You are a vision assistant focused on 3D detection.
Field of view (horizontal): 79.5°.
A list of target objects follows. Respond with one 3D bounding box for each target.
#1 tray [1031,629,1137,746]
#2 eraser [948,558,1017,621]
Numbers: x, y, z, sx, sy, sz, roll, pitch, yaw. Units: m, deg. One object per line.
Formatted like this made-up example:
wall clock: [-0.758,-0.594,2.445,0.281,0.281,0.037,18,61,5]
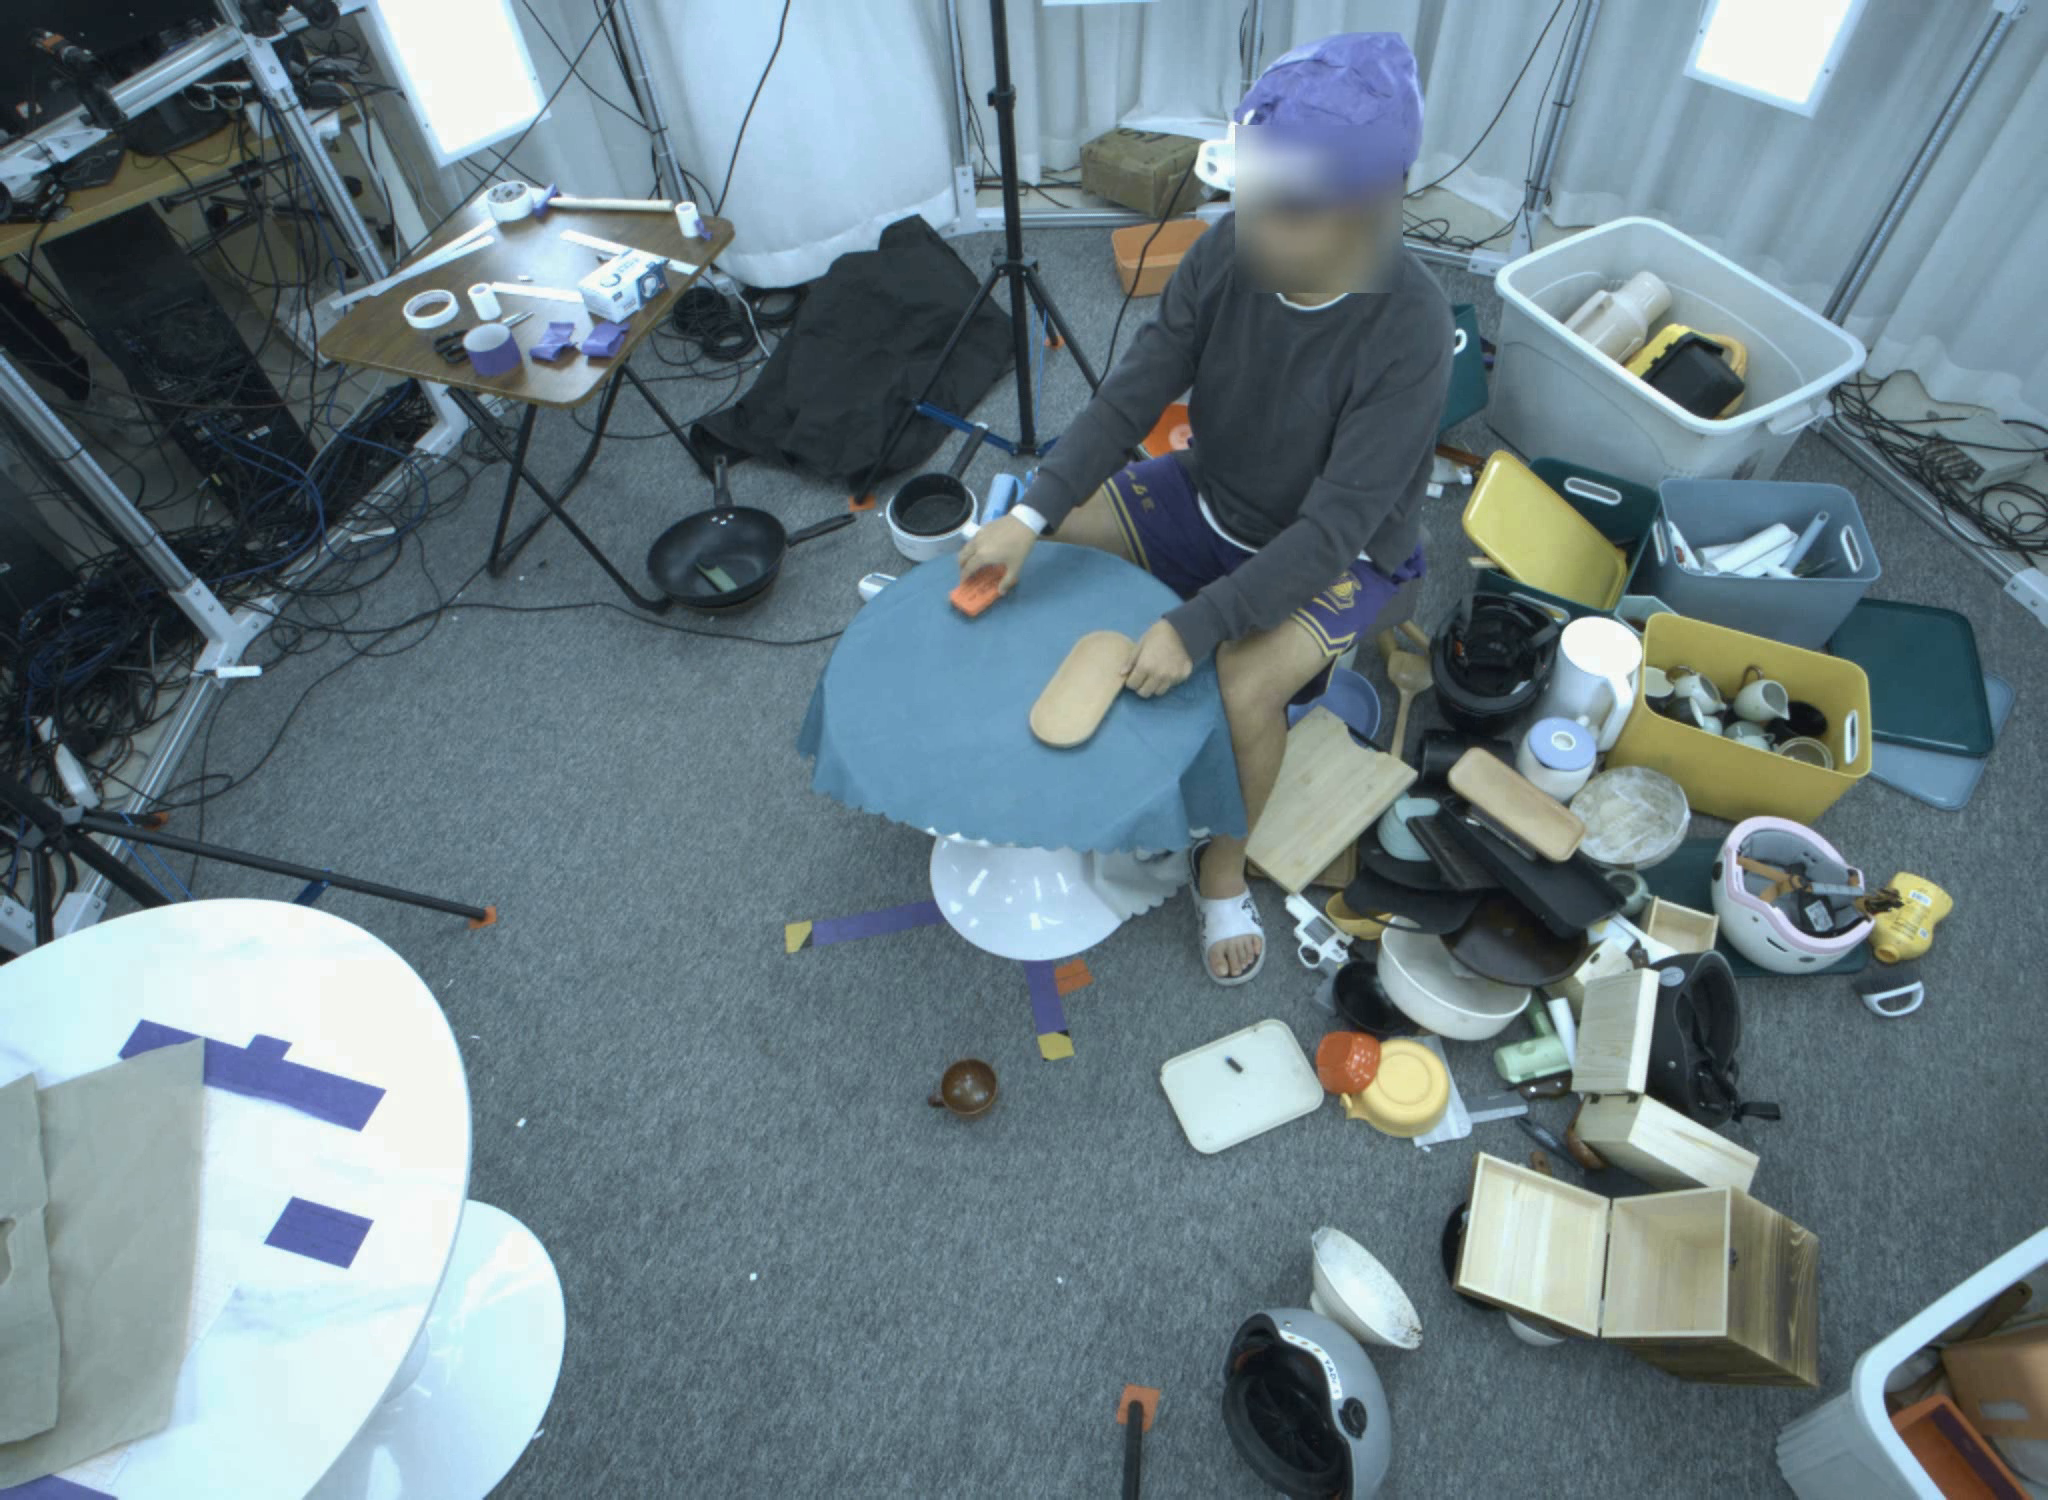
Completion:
tray: [0.091,-0.095,1.843,0.100,0.020,0.231,21,57,18]
eraser: [-0.066,-0.257,1.960,0.109,0.023,0.059,-41,88,-25]
